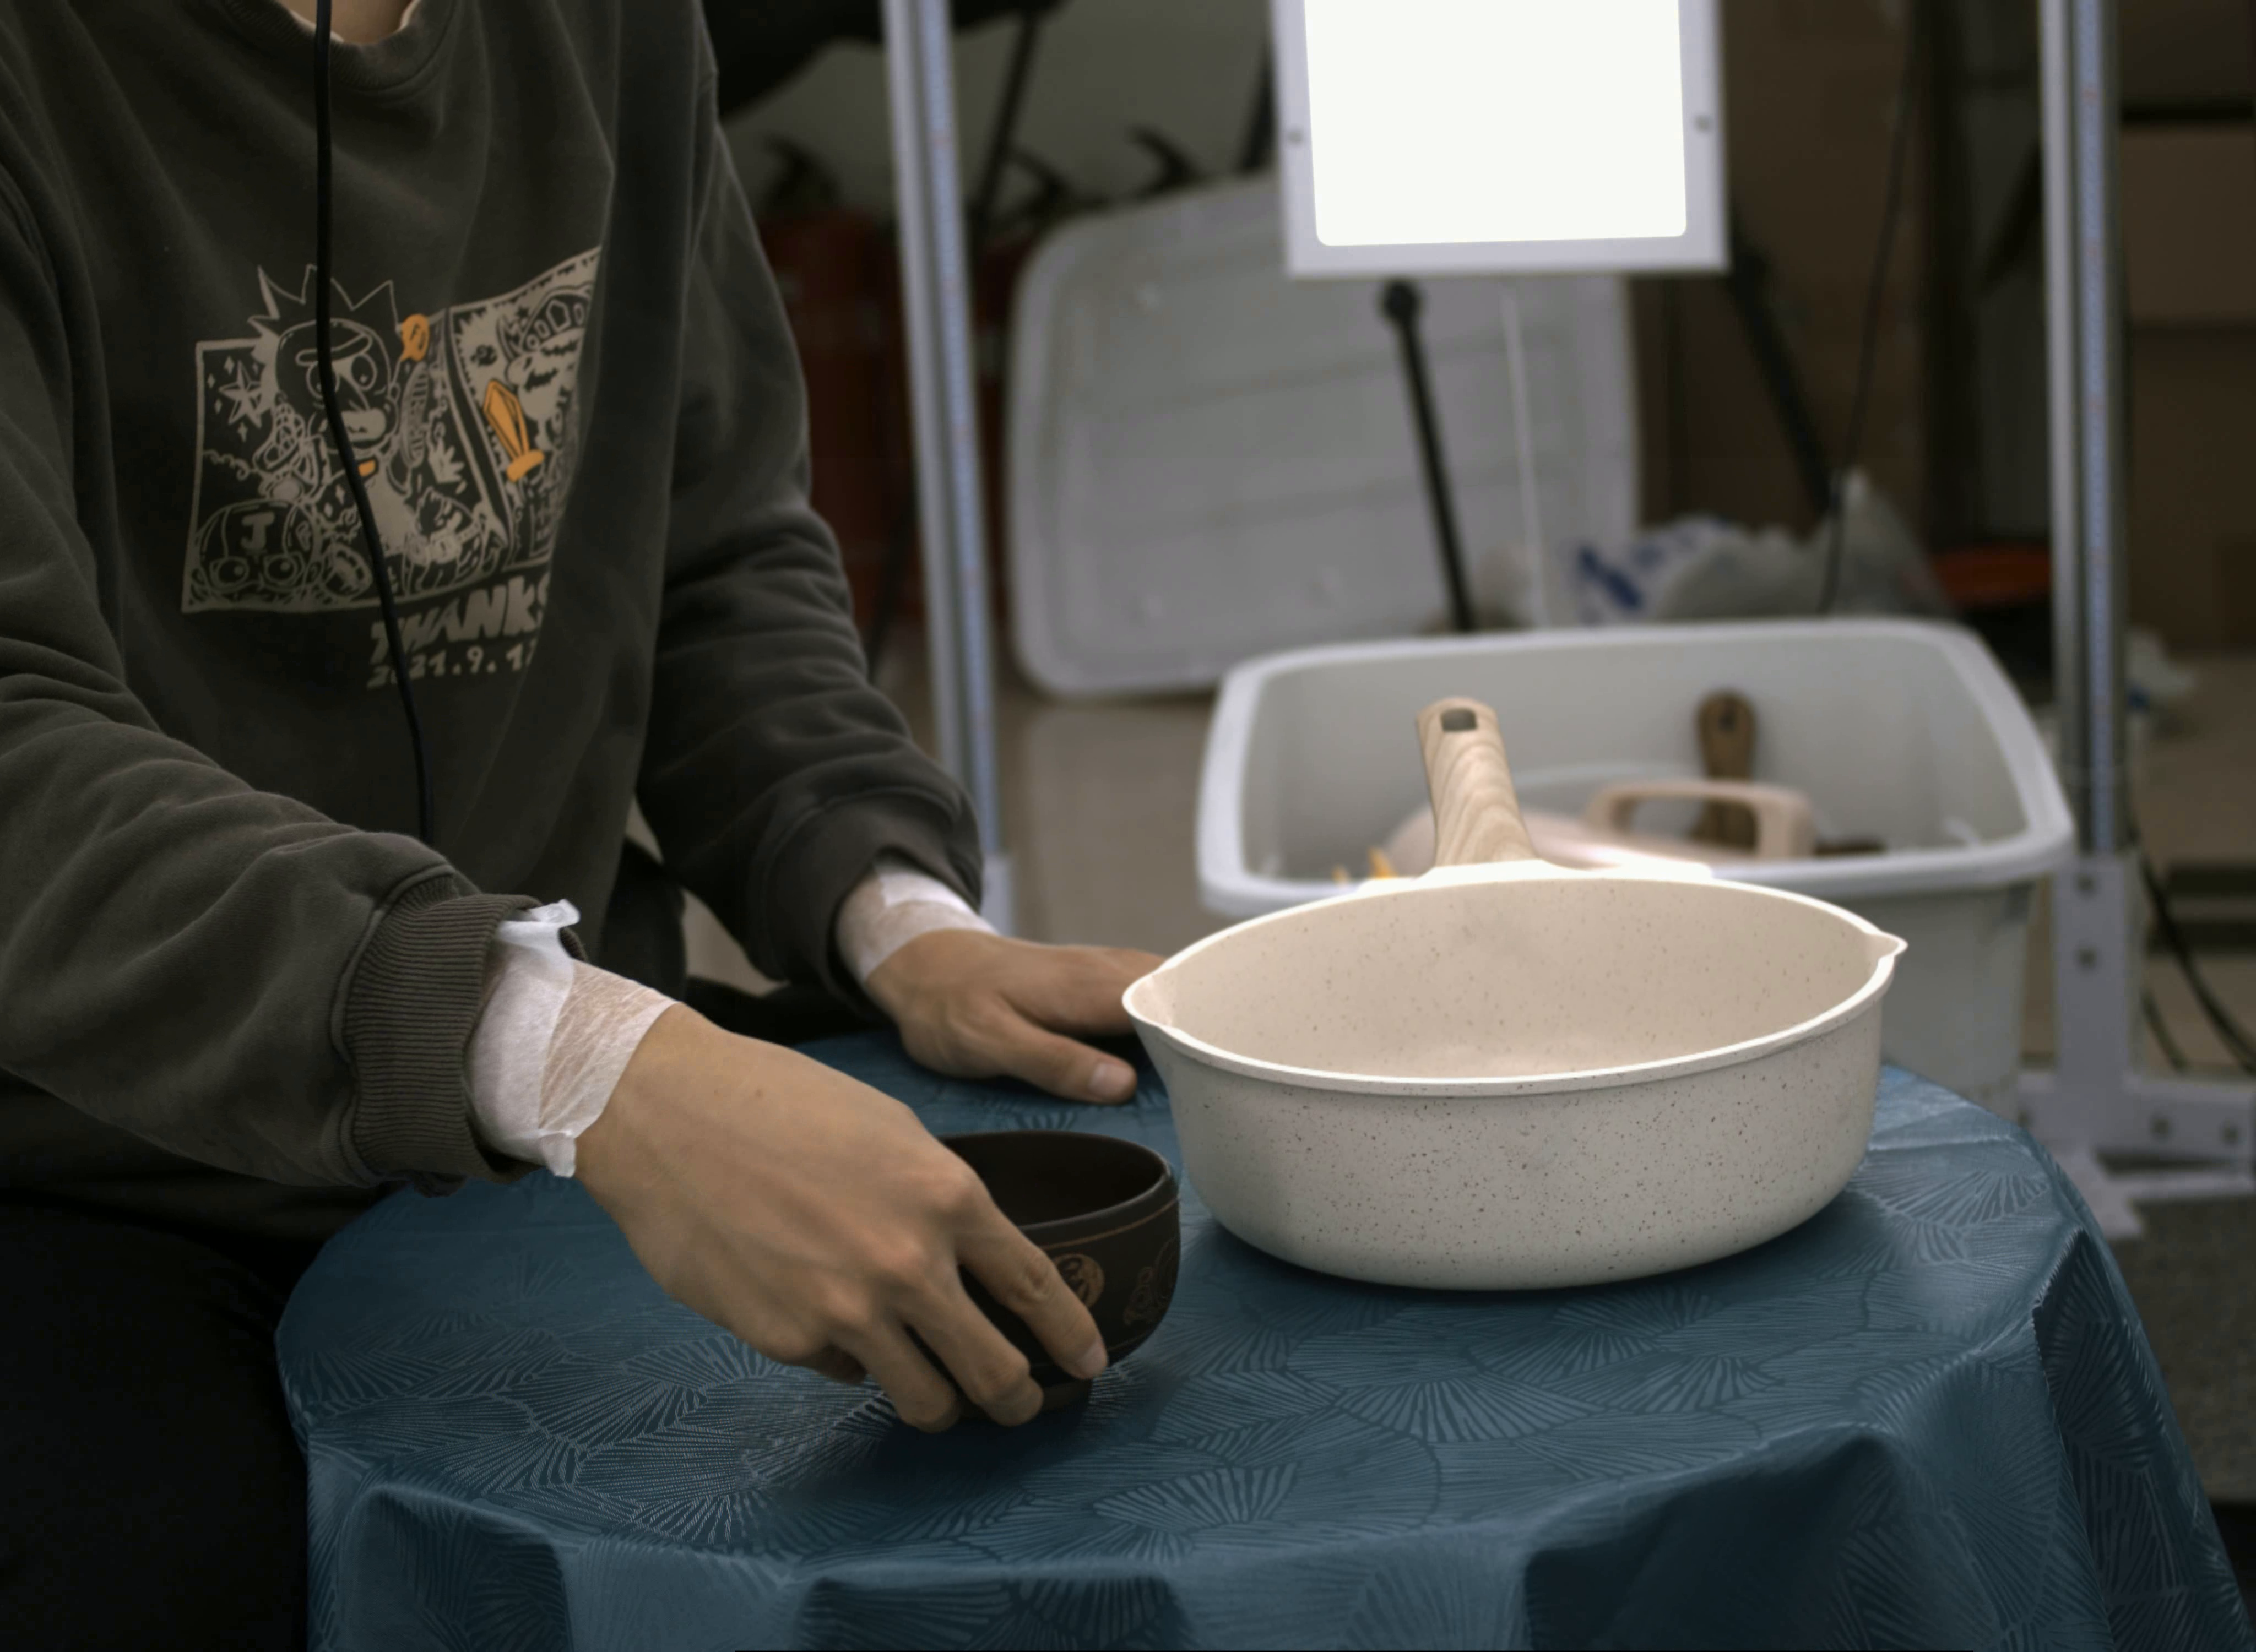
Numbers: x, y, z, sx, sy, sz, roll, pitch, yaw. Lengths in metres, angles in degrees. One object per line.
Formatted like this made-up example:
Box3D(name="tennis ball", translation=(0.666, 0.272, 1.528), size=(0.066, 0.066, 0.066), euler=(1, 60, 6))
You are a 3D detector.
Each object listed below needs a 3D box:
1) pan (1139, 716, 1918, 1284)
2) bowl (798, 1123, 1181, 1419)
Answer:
Box3D(name="pan", translation=(0.136, 0.056, 1.925), size=(0.263, 0.102, 0.434), euler=(-7, 13, 2))
Box3D(name="bowl", translation=(-0.041, 0.141, 1.702), size=(0.118, 0.070, 0.118), euler=(-5, 15, 0))
